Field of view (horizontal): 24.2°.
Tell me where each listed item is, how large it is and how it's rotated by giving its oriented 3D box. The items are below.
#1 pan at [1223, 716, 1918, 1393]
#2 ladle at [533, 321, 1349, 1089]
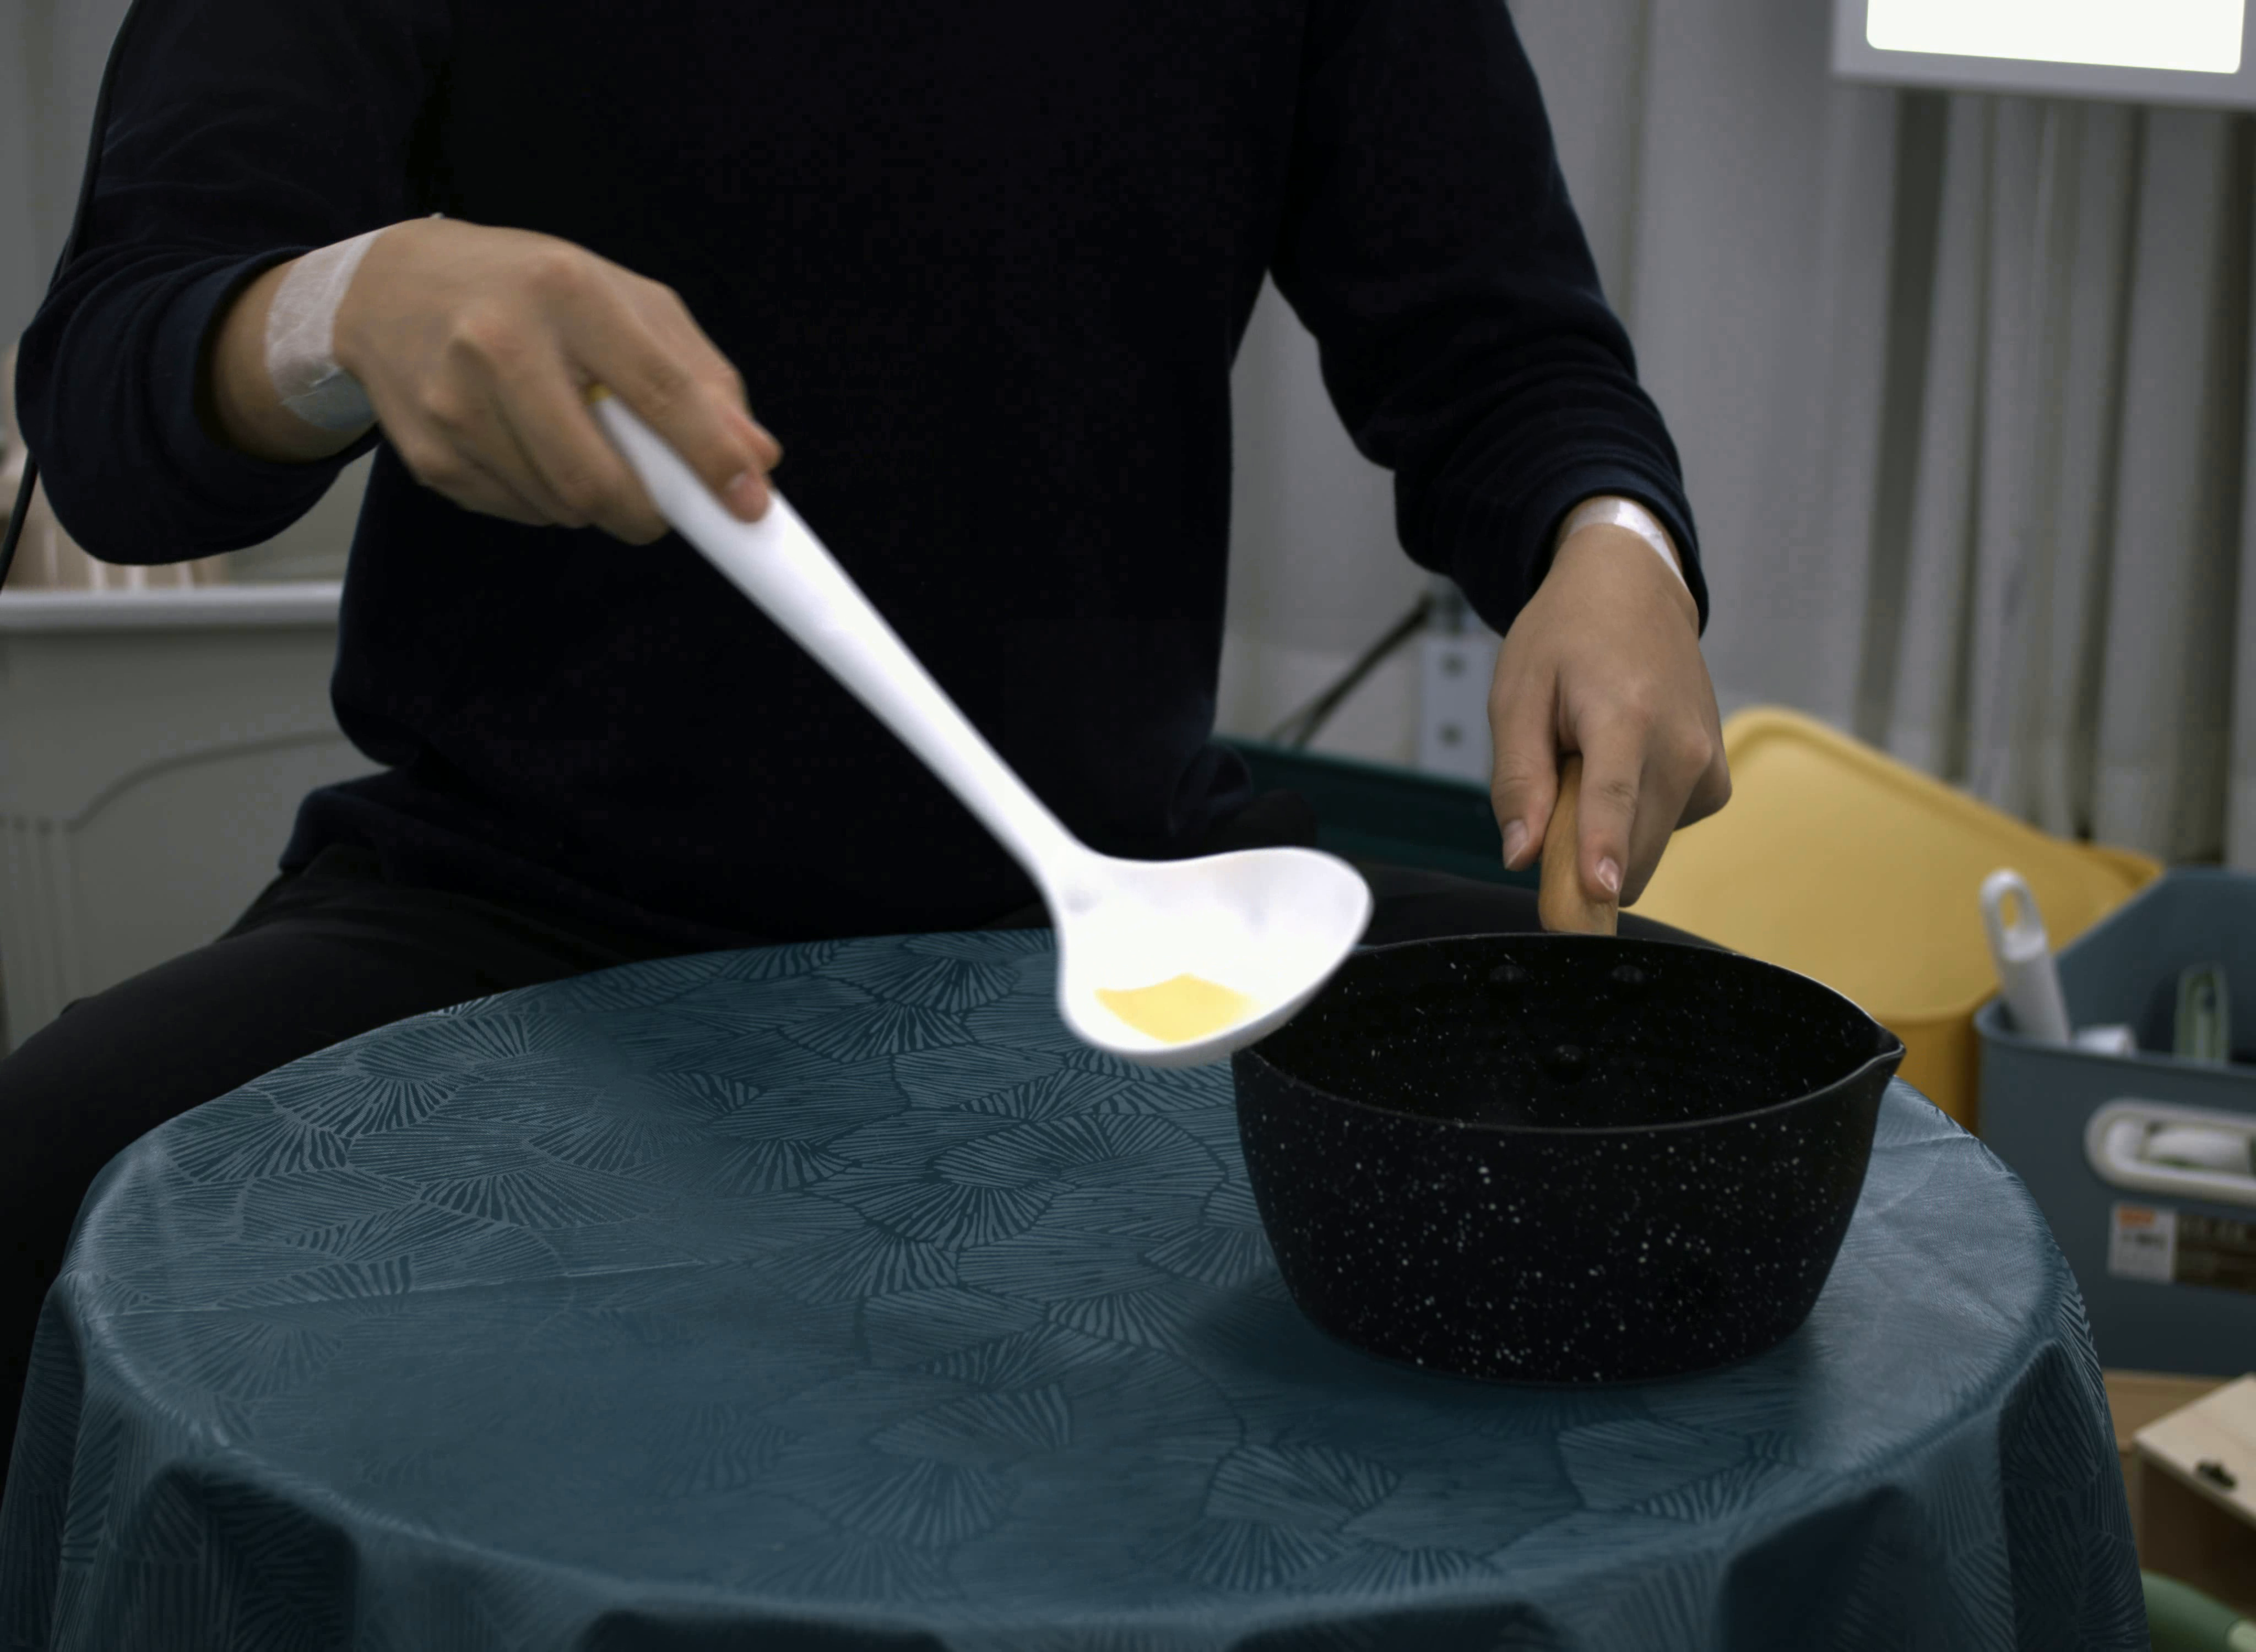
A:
[{"bbox_3d":[0.131,0.063,1.596,0.206,0.109,0.341,1,17,5],"label":"pan"},{"bbox_3d":[-0.059,-0.039,1.441,0.090,0.070,0.291,-40,76,-17],"label":"ladle"}]
